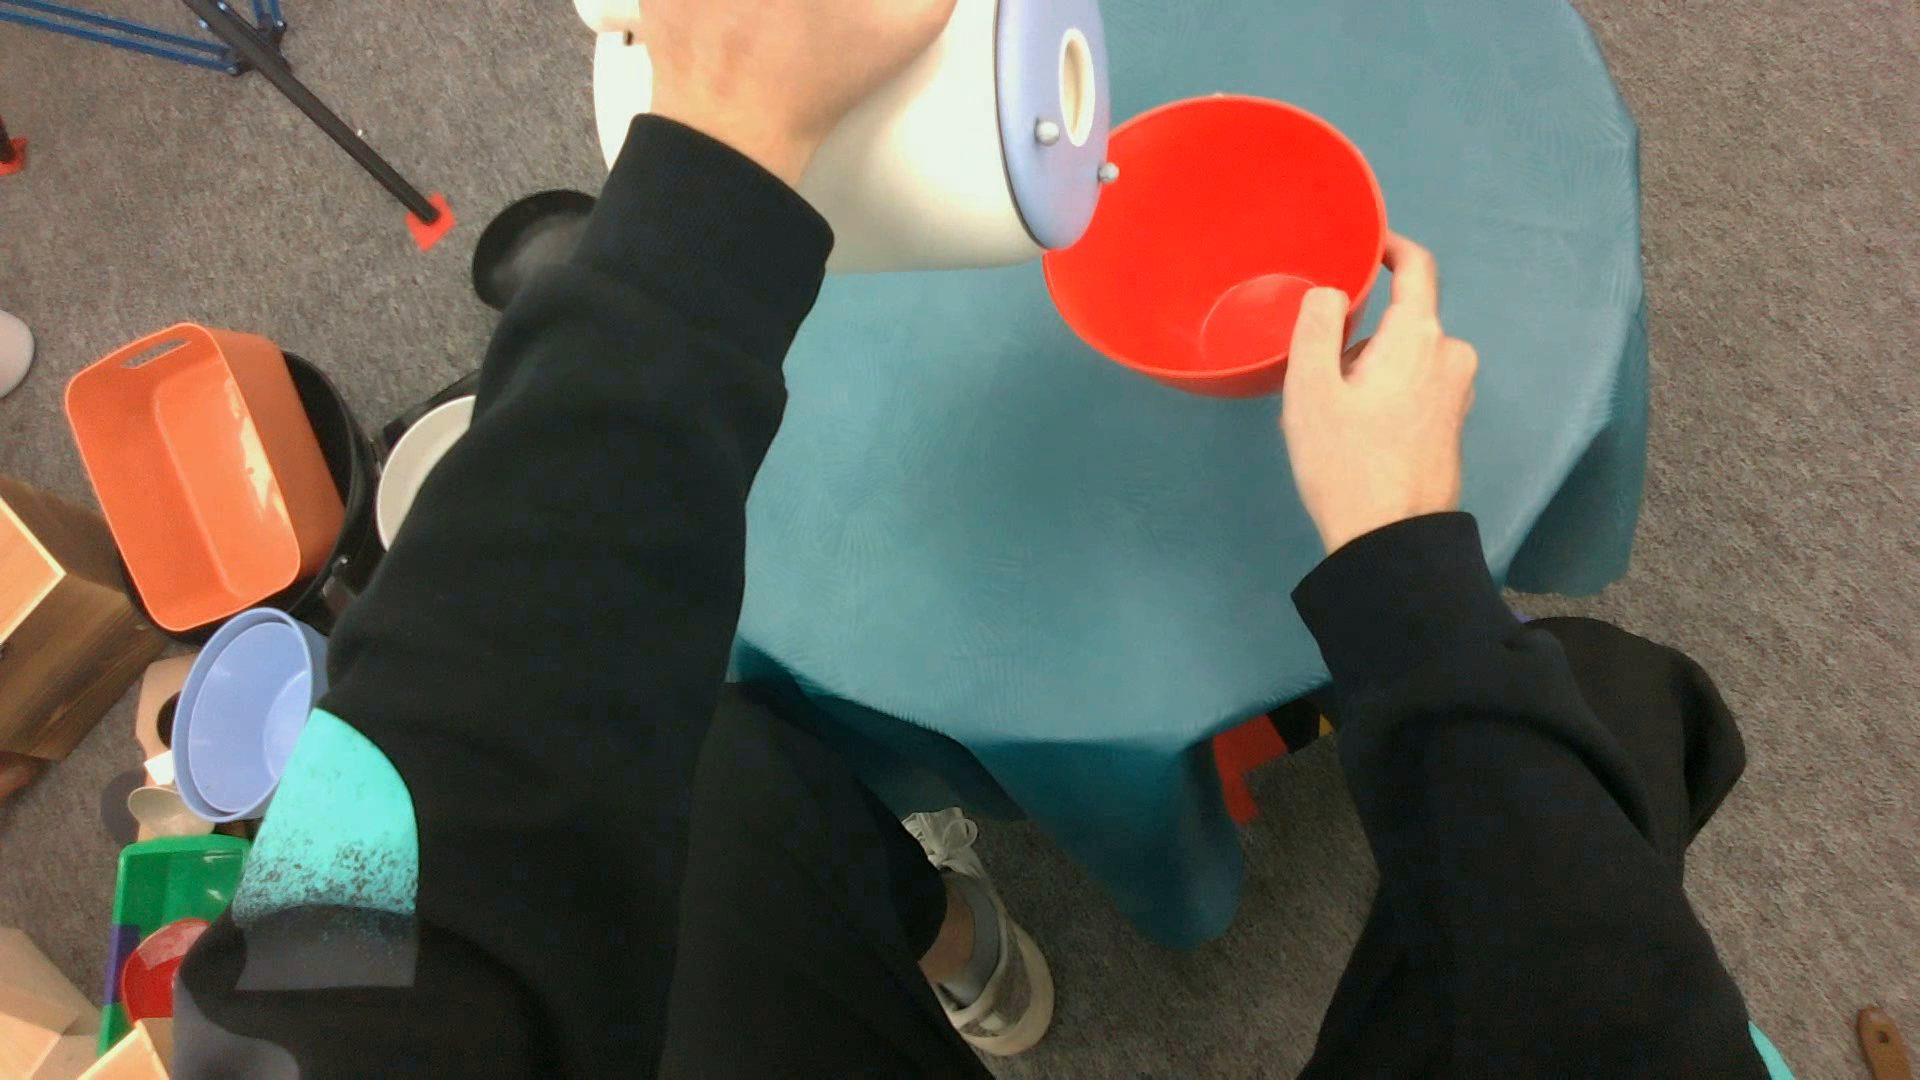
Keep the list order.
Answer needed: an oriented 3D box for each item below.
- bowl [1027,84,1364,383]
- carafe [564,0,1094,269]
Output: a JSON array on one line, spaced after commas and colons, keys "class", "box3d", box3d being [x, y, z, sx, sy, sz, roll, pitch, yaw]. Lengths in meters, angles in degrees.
[{"class": "bowl", "box3d": [0.118, -0.129, 0.648, 0.147, 0.104, 0.148, -9, 64, 20]}, {"class": "carafe", "box3d": [-0.055, -0.184, 0.533, 0.182, 0.191, 0.132, 1, 79, 23]}]
